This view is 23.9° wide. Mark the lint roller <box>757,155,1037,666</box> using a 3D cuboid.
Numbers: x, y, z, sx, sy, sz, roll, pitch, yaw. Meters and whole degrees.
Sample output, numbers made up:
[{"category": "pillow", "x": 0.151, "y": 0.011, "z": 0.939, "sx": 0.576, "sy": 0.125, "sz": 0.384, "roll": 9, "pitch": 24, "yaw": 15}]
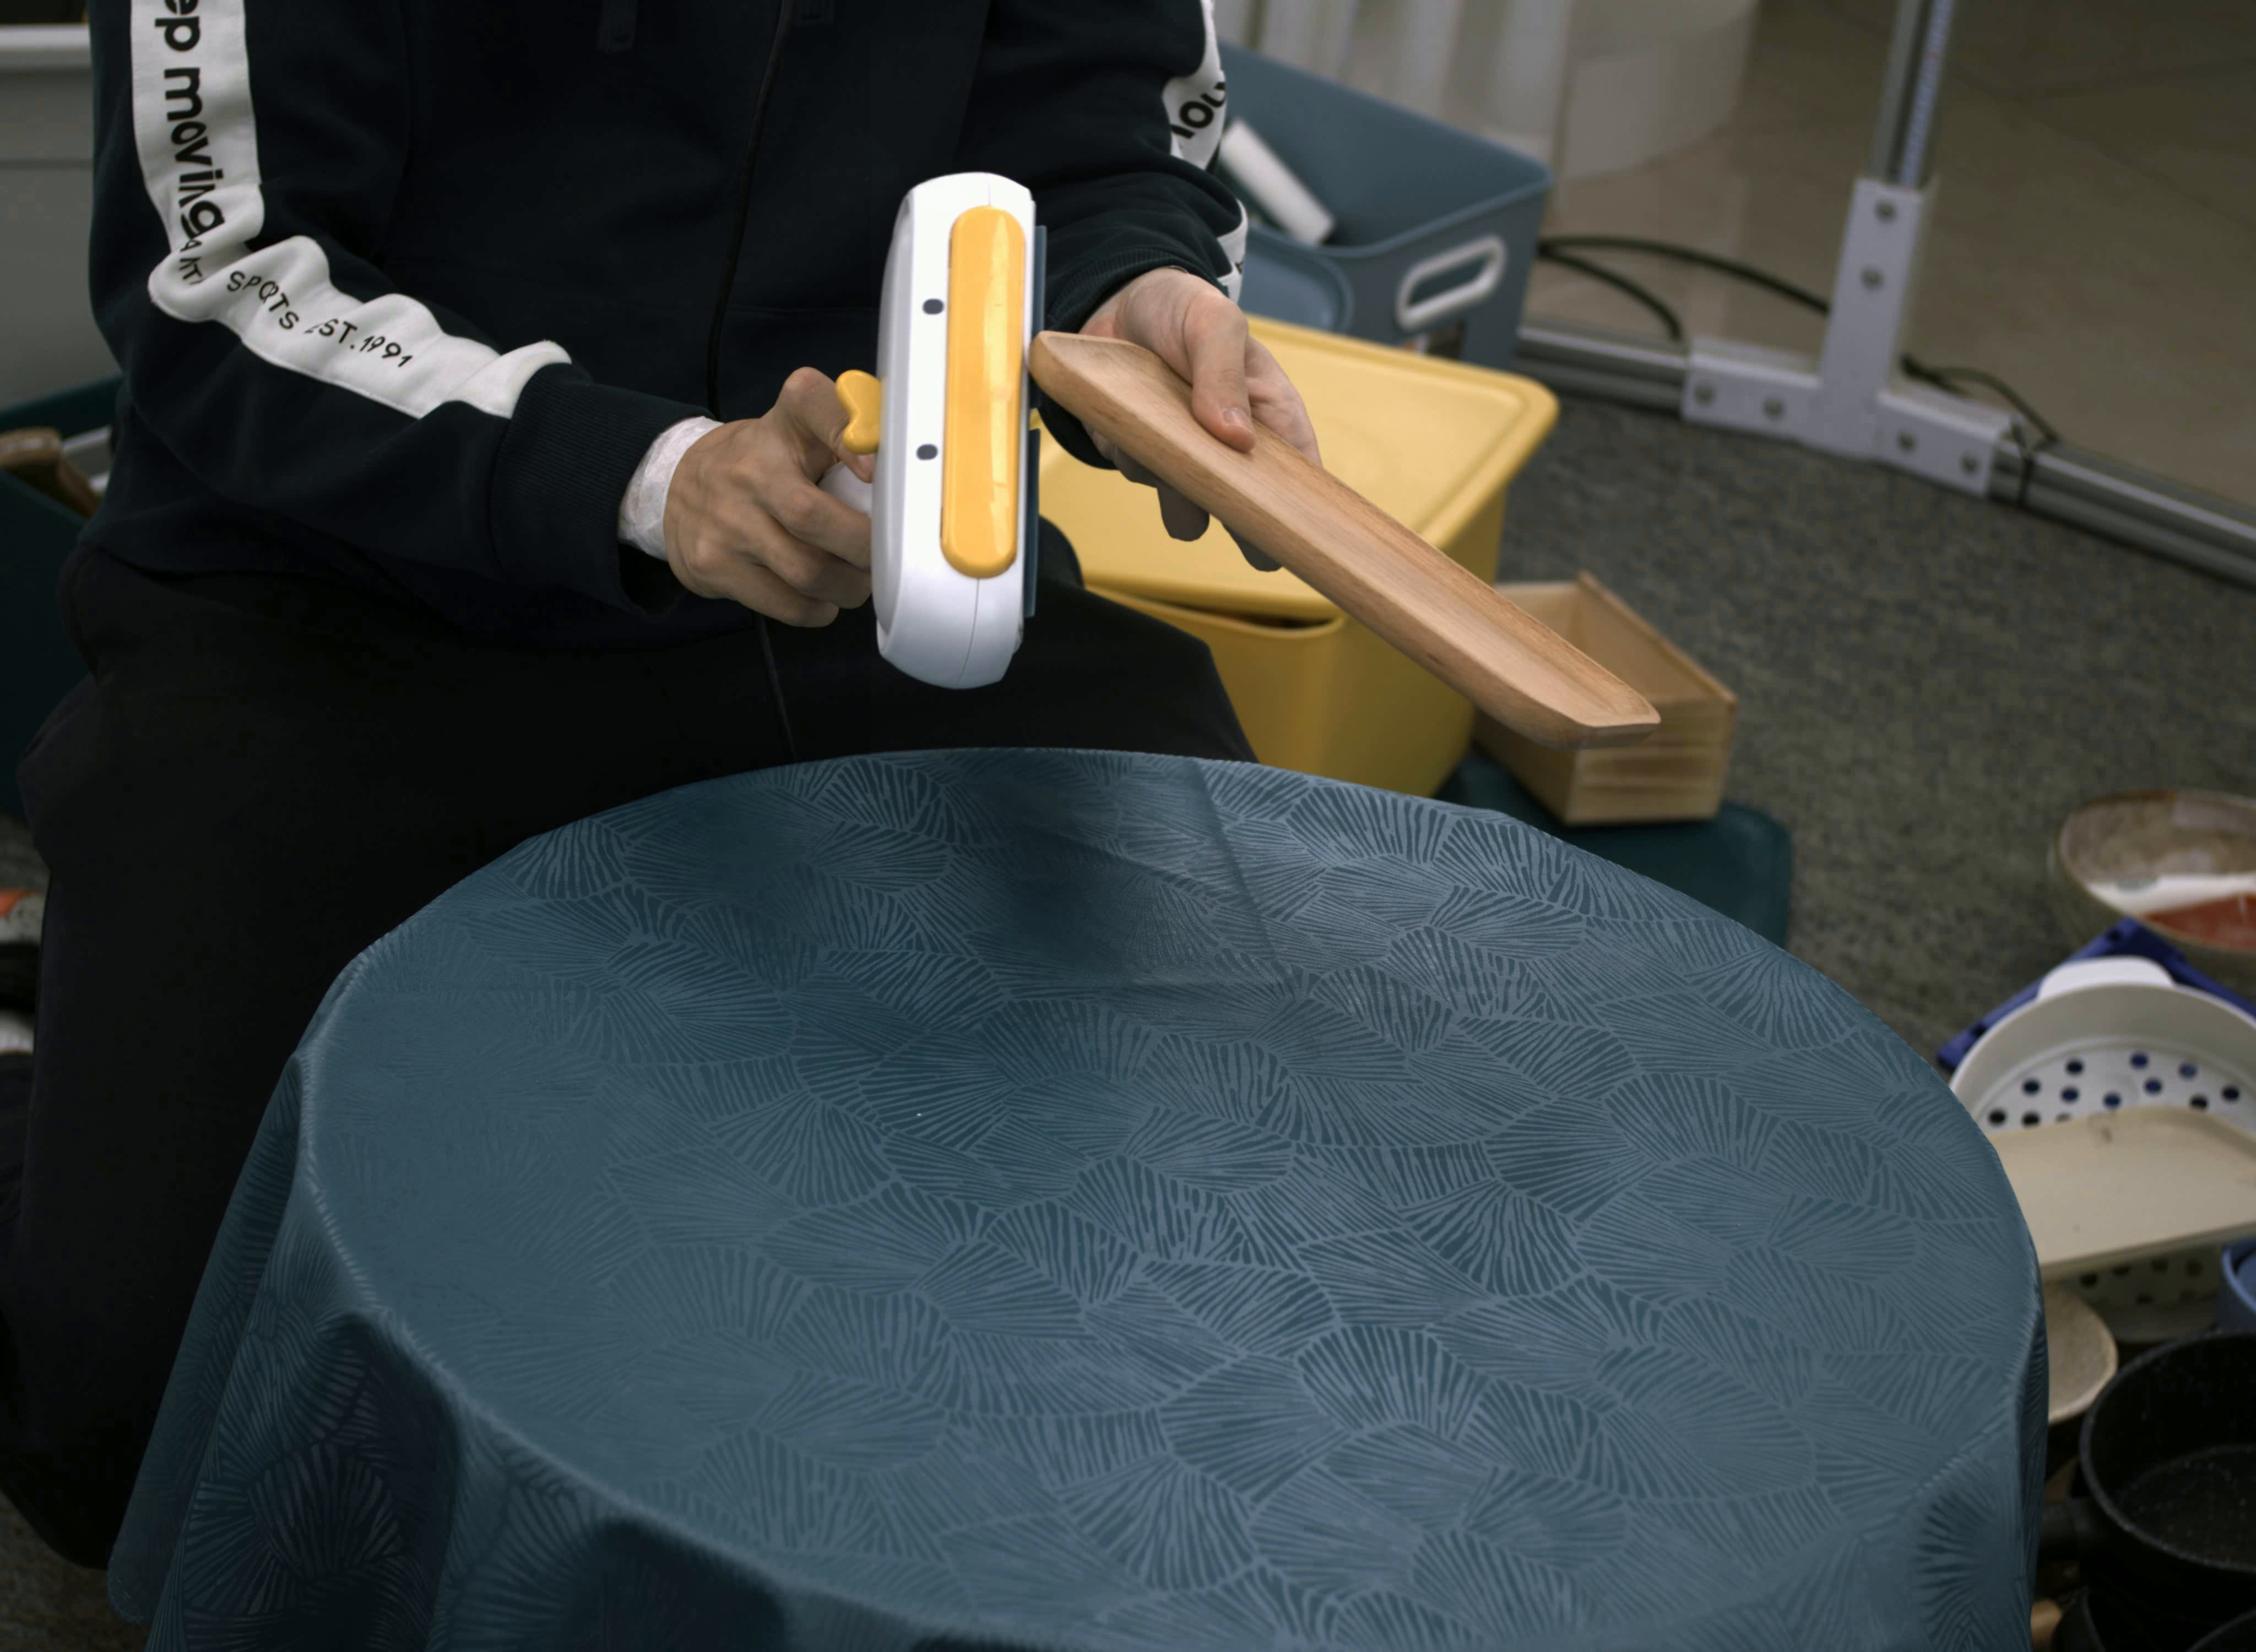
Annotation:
[{"category": "lint roller", "x": -0.086, "y": -0.125, "z": 1.958, "sx": 0.073, "sy": 0.192, "sz": 0.194, "roll": 3, "pitch": 64, "yaw": -18}]

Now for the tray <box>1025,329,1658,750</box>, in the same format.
[{"category": "tray", "x": 0.074, "y": -0.102, "z": 1.896, "sx": 0.252, "sy": 0.023, "sz": 0.130, "roll": 36, "pitch": 12, "yaw": 20}]
